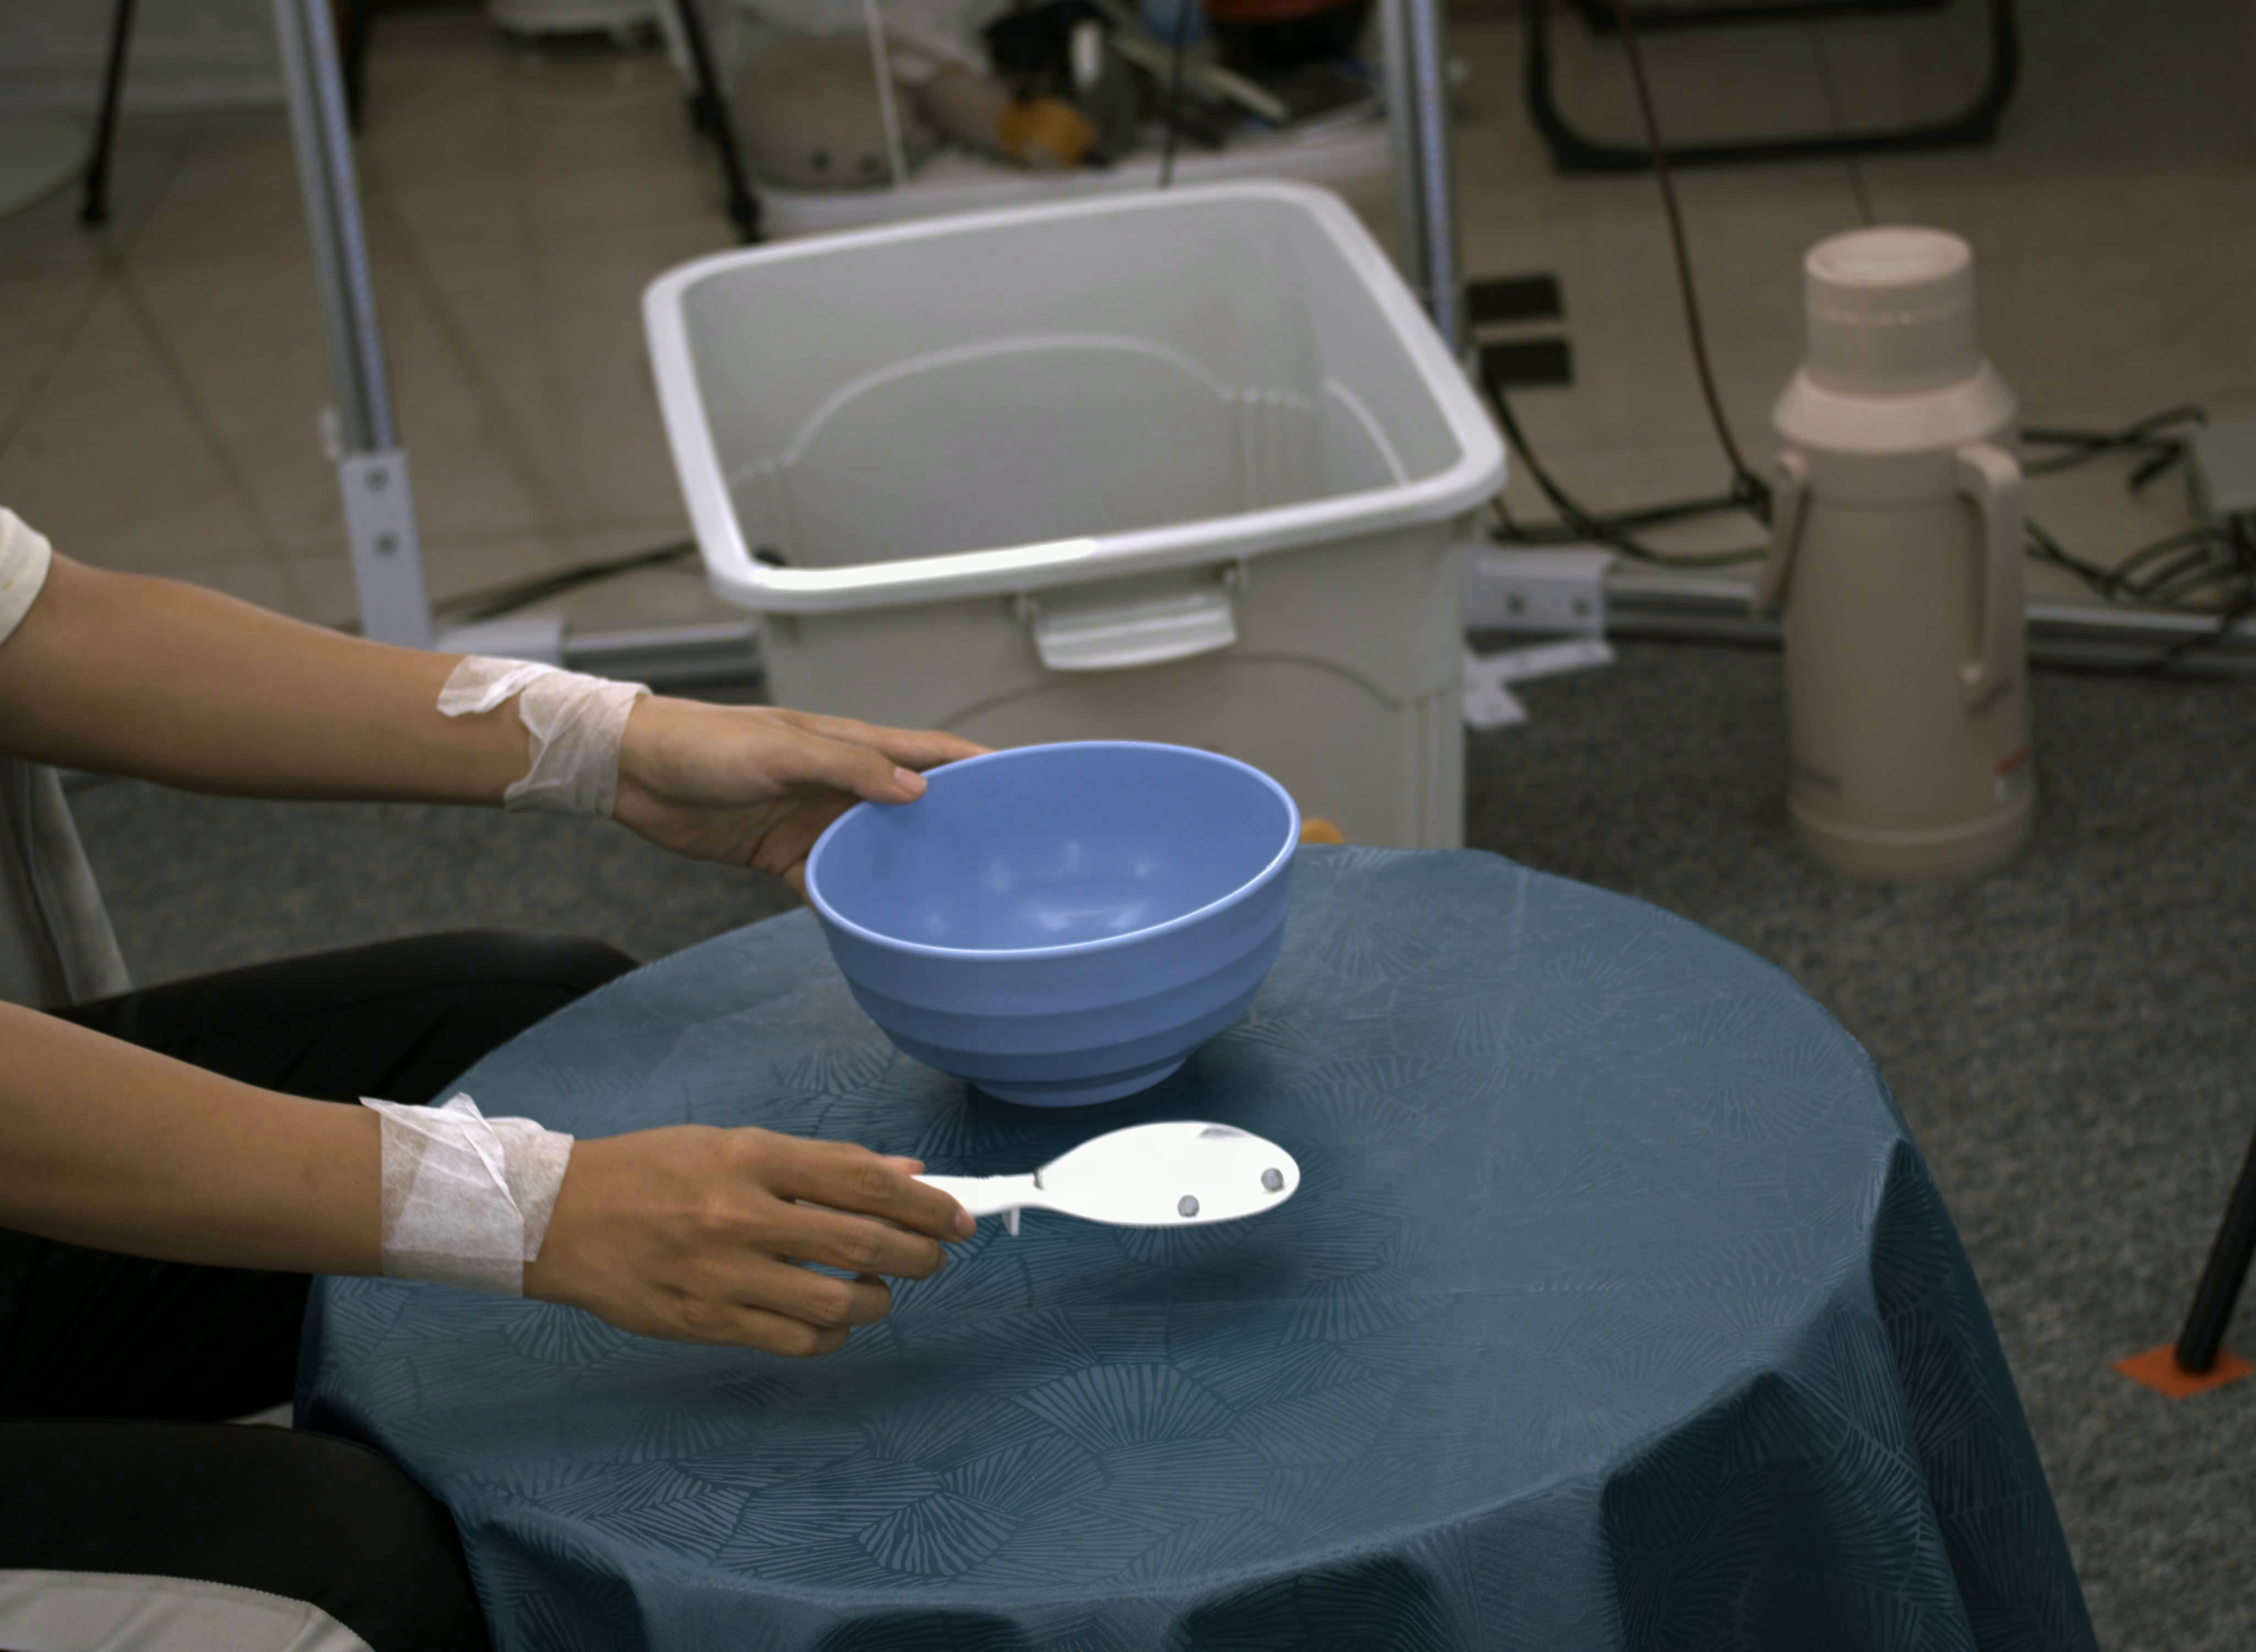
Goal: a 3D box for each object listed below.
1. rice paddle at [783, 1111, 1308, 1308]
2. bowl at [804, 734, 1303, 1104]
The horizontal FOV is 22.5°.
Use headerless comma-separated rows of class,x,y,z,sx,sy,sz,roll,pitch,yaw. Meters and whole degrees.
rice paddle,-0.027,0.132,2.059,0.204,0.030,0.068,-15,19,-23
bowl,-0.026,0.047,2.237,0.196,0.097,0.193,-4,26,2
